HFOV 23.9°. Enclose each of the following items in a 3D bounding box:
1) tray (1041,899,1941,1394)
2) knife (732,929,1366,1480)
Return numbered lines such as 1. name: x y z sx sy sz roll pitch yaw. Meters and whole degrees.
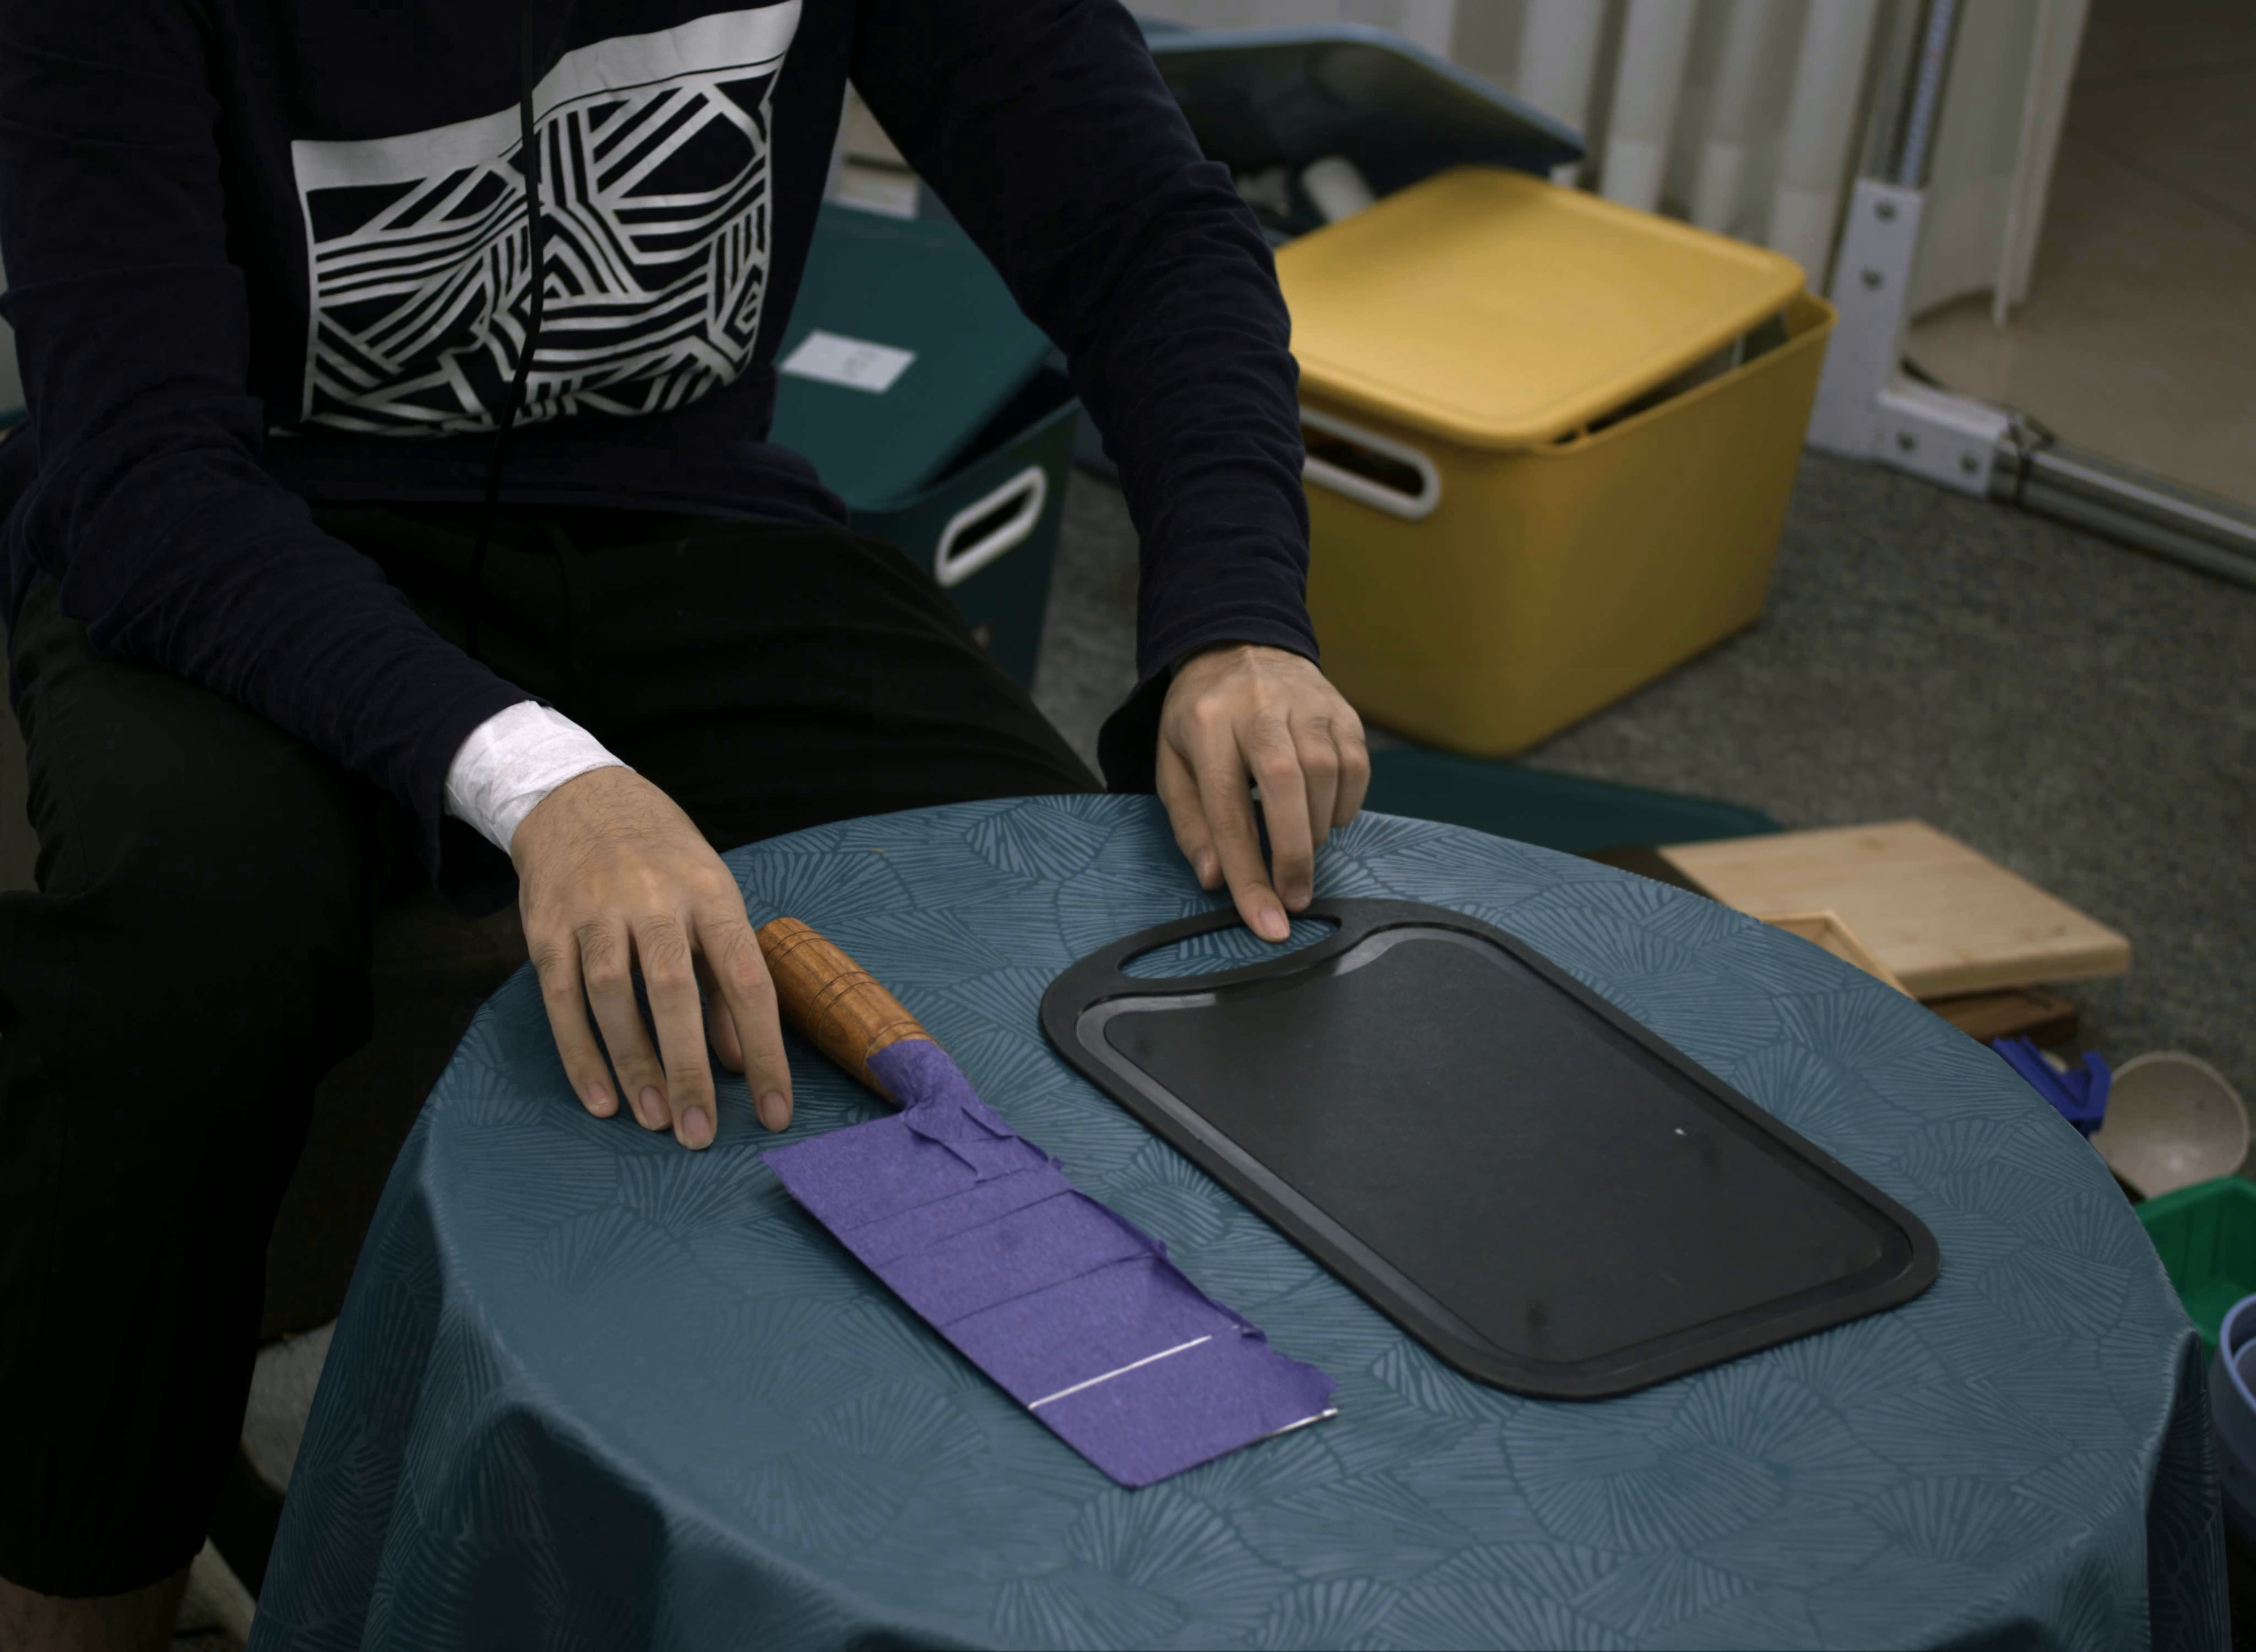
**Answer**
1. tray: 0.118 0.102 1.866 0.210 0.010 0.328 -12 32 -33
2. knife: -0.057 0.121 1.768 0.103 0.032 0.318 -14 34 -36
